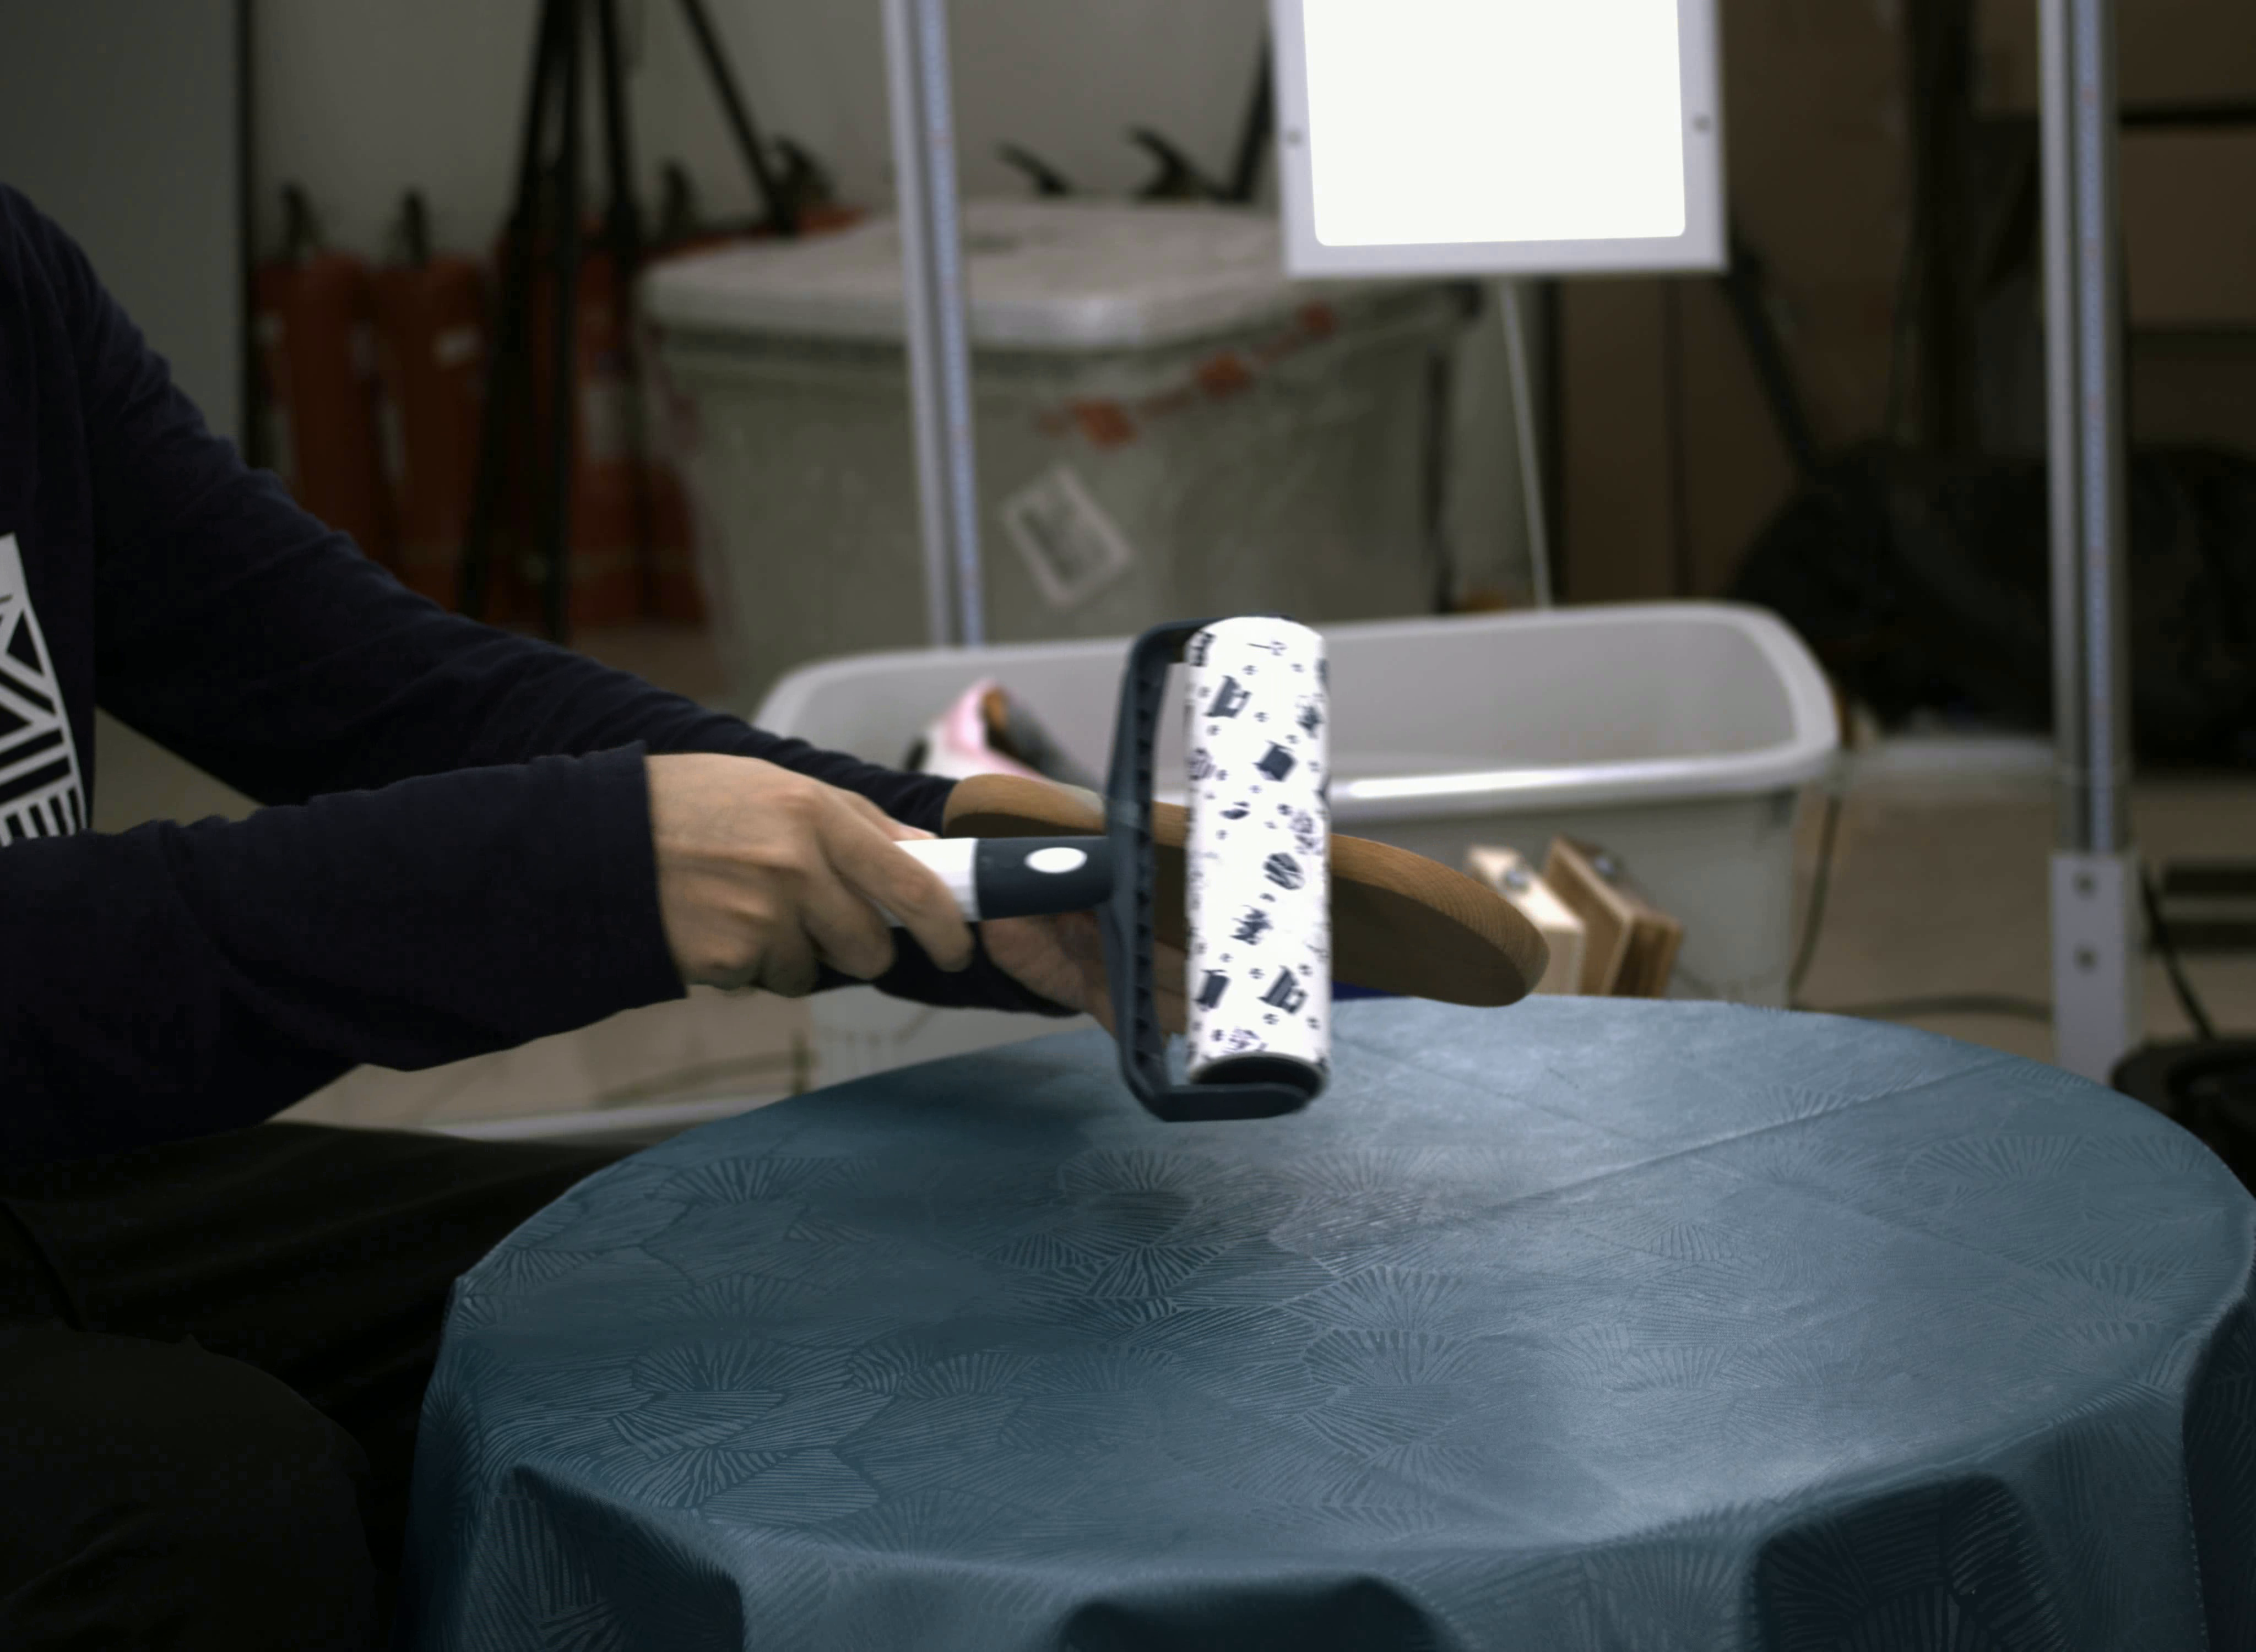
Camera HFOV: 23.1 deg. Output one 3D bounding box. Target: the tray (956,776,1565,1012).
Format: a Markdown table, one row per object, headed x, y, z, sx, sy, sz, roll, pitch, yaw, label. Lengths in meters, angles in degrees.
| x | y | z | sx | sy | sz | roll | pitch | yaw | label |
| --- | --- | --- | --- | --- | --- | --- | --- | --- | --- |
| 0.042 | 0.024 | 1.882 | 0.235 | 0.020 | 0.100 | 12 | -20 | 32 | tray |

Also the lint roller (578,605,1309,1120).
| x | y | z | sx | sy | sz | roll | pitch | yaw | label |
| --- | --- | --- | --- | --- | --- | --- | --- | --- | --- |
| -0.063 | 0.019 | 1.815 | 0.248 | 0.176 | 0.050 | -5 | -26 | 10 | lint roller |
